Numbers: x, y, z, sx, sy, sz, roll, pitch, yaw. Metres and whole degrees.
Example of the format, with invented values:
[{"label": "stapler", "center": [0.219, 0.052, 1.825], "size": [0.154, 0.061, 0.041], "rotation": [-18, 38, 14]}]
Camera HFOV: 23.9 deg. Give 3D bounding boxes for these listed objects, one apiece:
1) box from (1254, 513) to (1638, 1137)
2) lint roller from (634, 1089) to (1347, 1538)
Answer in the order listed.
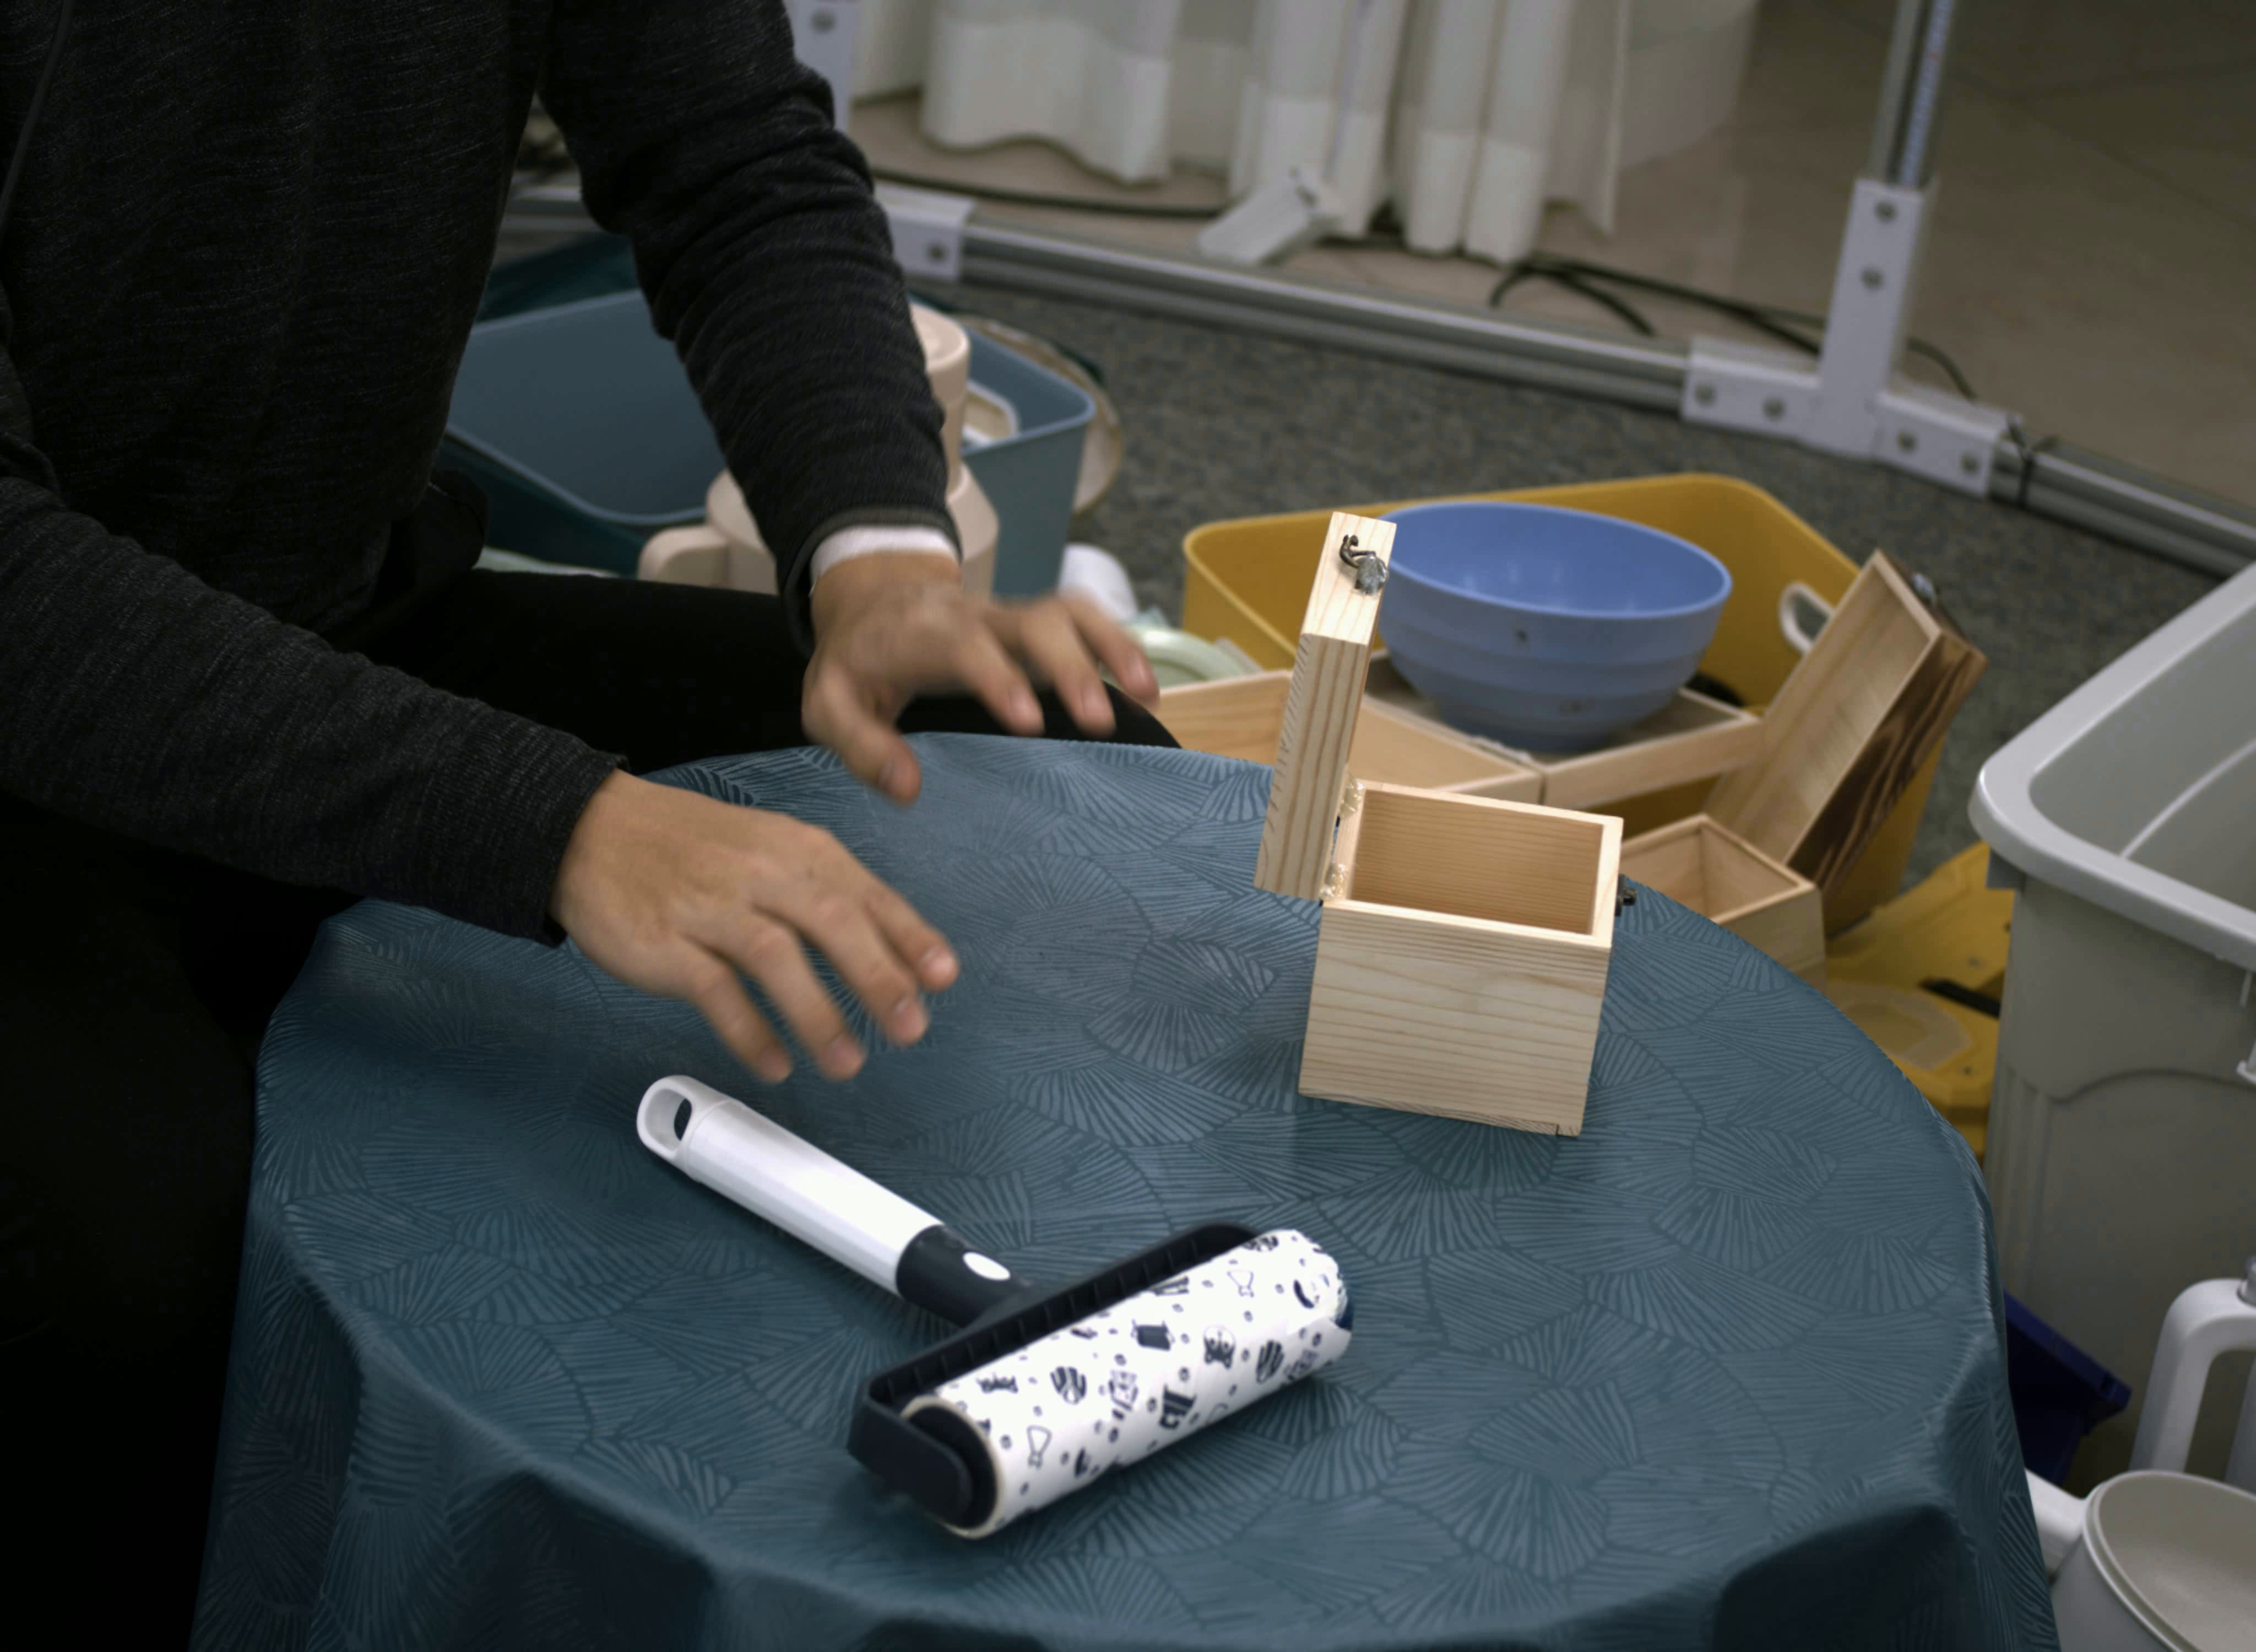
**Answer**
[{"label": "box", "center": [0.116, -0.002, 1.873], "size": [0.134, 0.184, 0.103], "rotation": [8, 26, 4]}, {"label": "lint roller", "center": [-0.074, 0.135, 1.715], "size": [0.249, 0.050, 0.175], "rotation": [27, 34, 36]}]
